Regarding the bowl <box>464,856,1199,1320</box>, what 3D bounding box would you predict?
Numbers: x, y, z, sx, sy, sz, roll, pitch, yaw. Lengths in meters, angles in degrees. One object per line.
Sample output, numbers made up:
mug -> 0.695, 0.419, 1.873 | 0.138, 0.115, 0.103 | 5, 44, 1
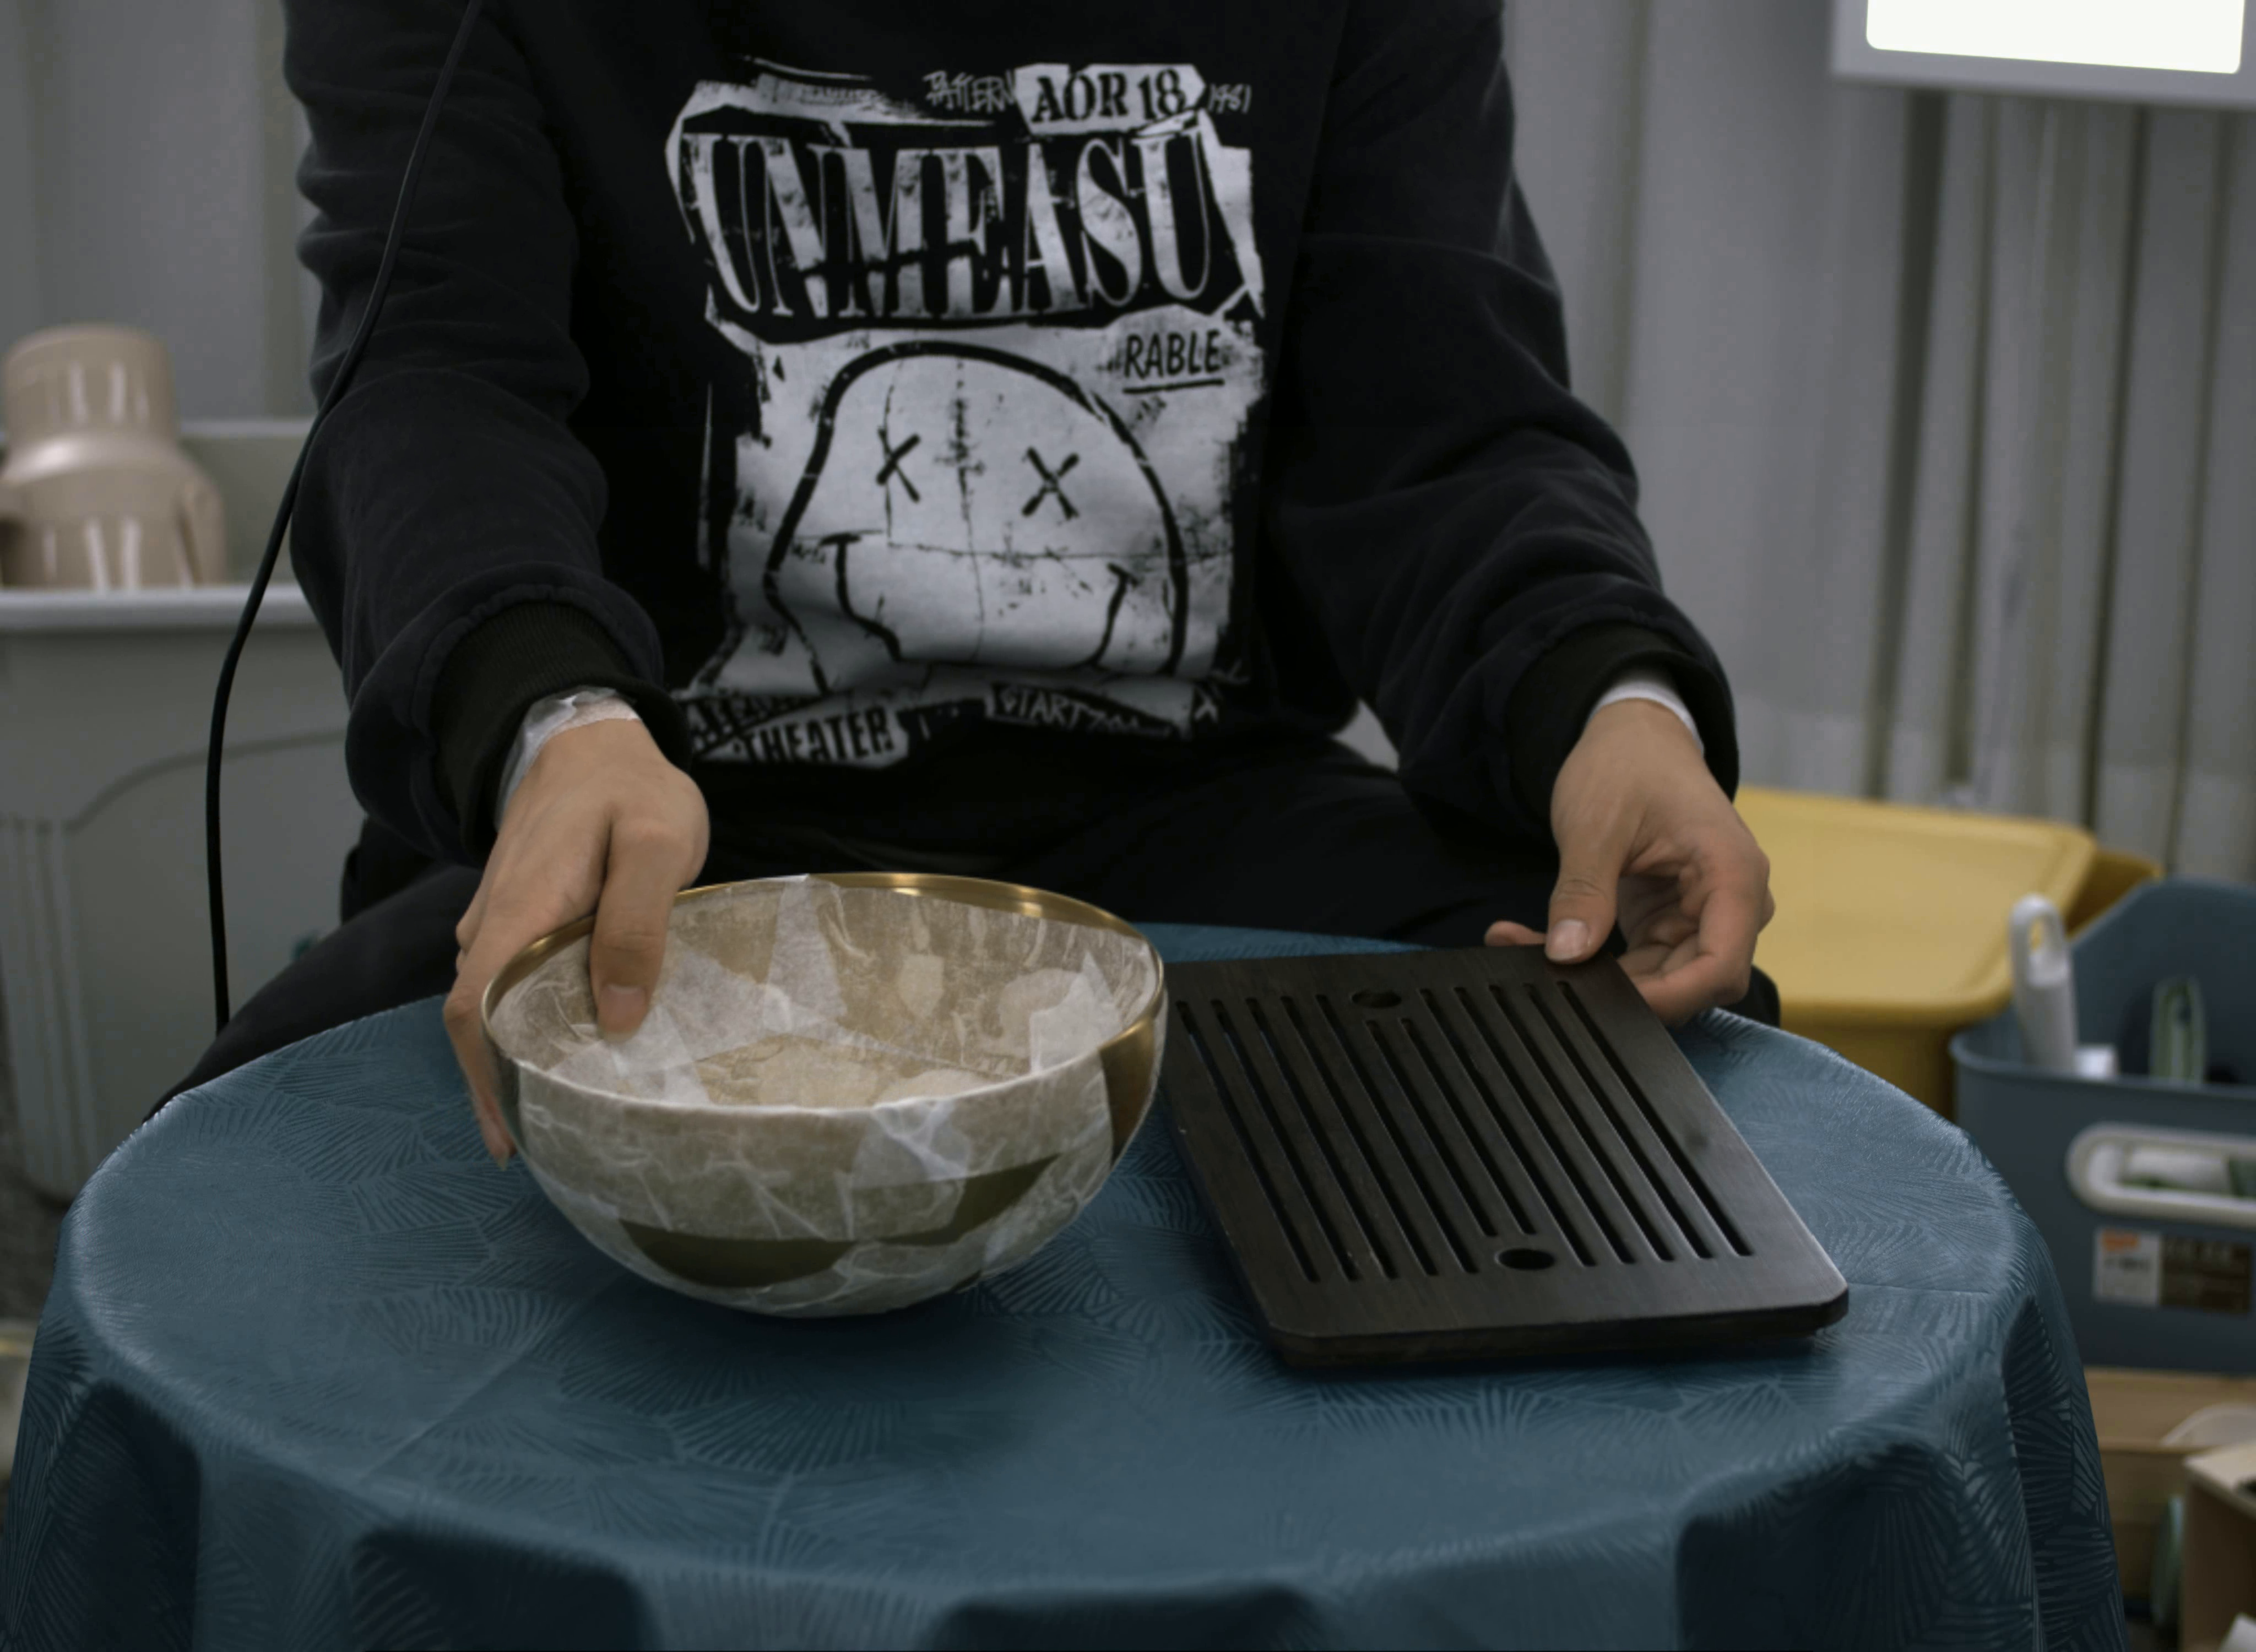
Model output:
bowl -> -0.085, 0.086, 1.536 | 0.214, 0.095, 0.213 | -2, 19, 1

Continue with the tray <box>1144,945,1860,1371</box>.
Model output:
tray -> 0.103, 0.099, 1.620 | 0.170, 0.019, 0.303 | -2, 19, -9
